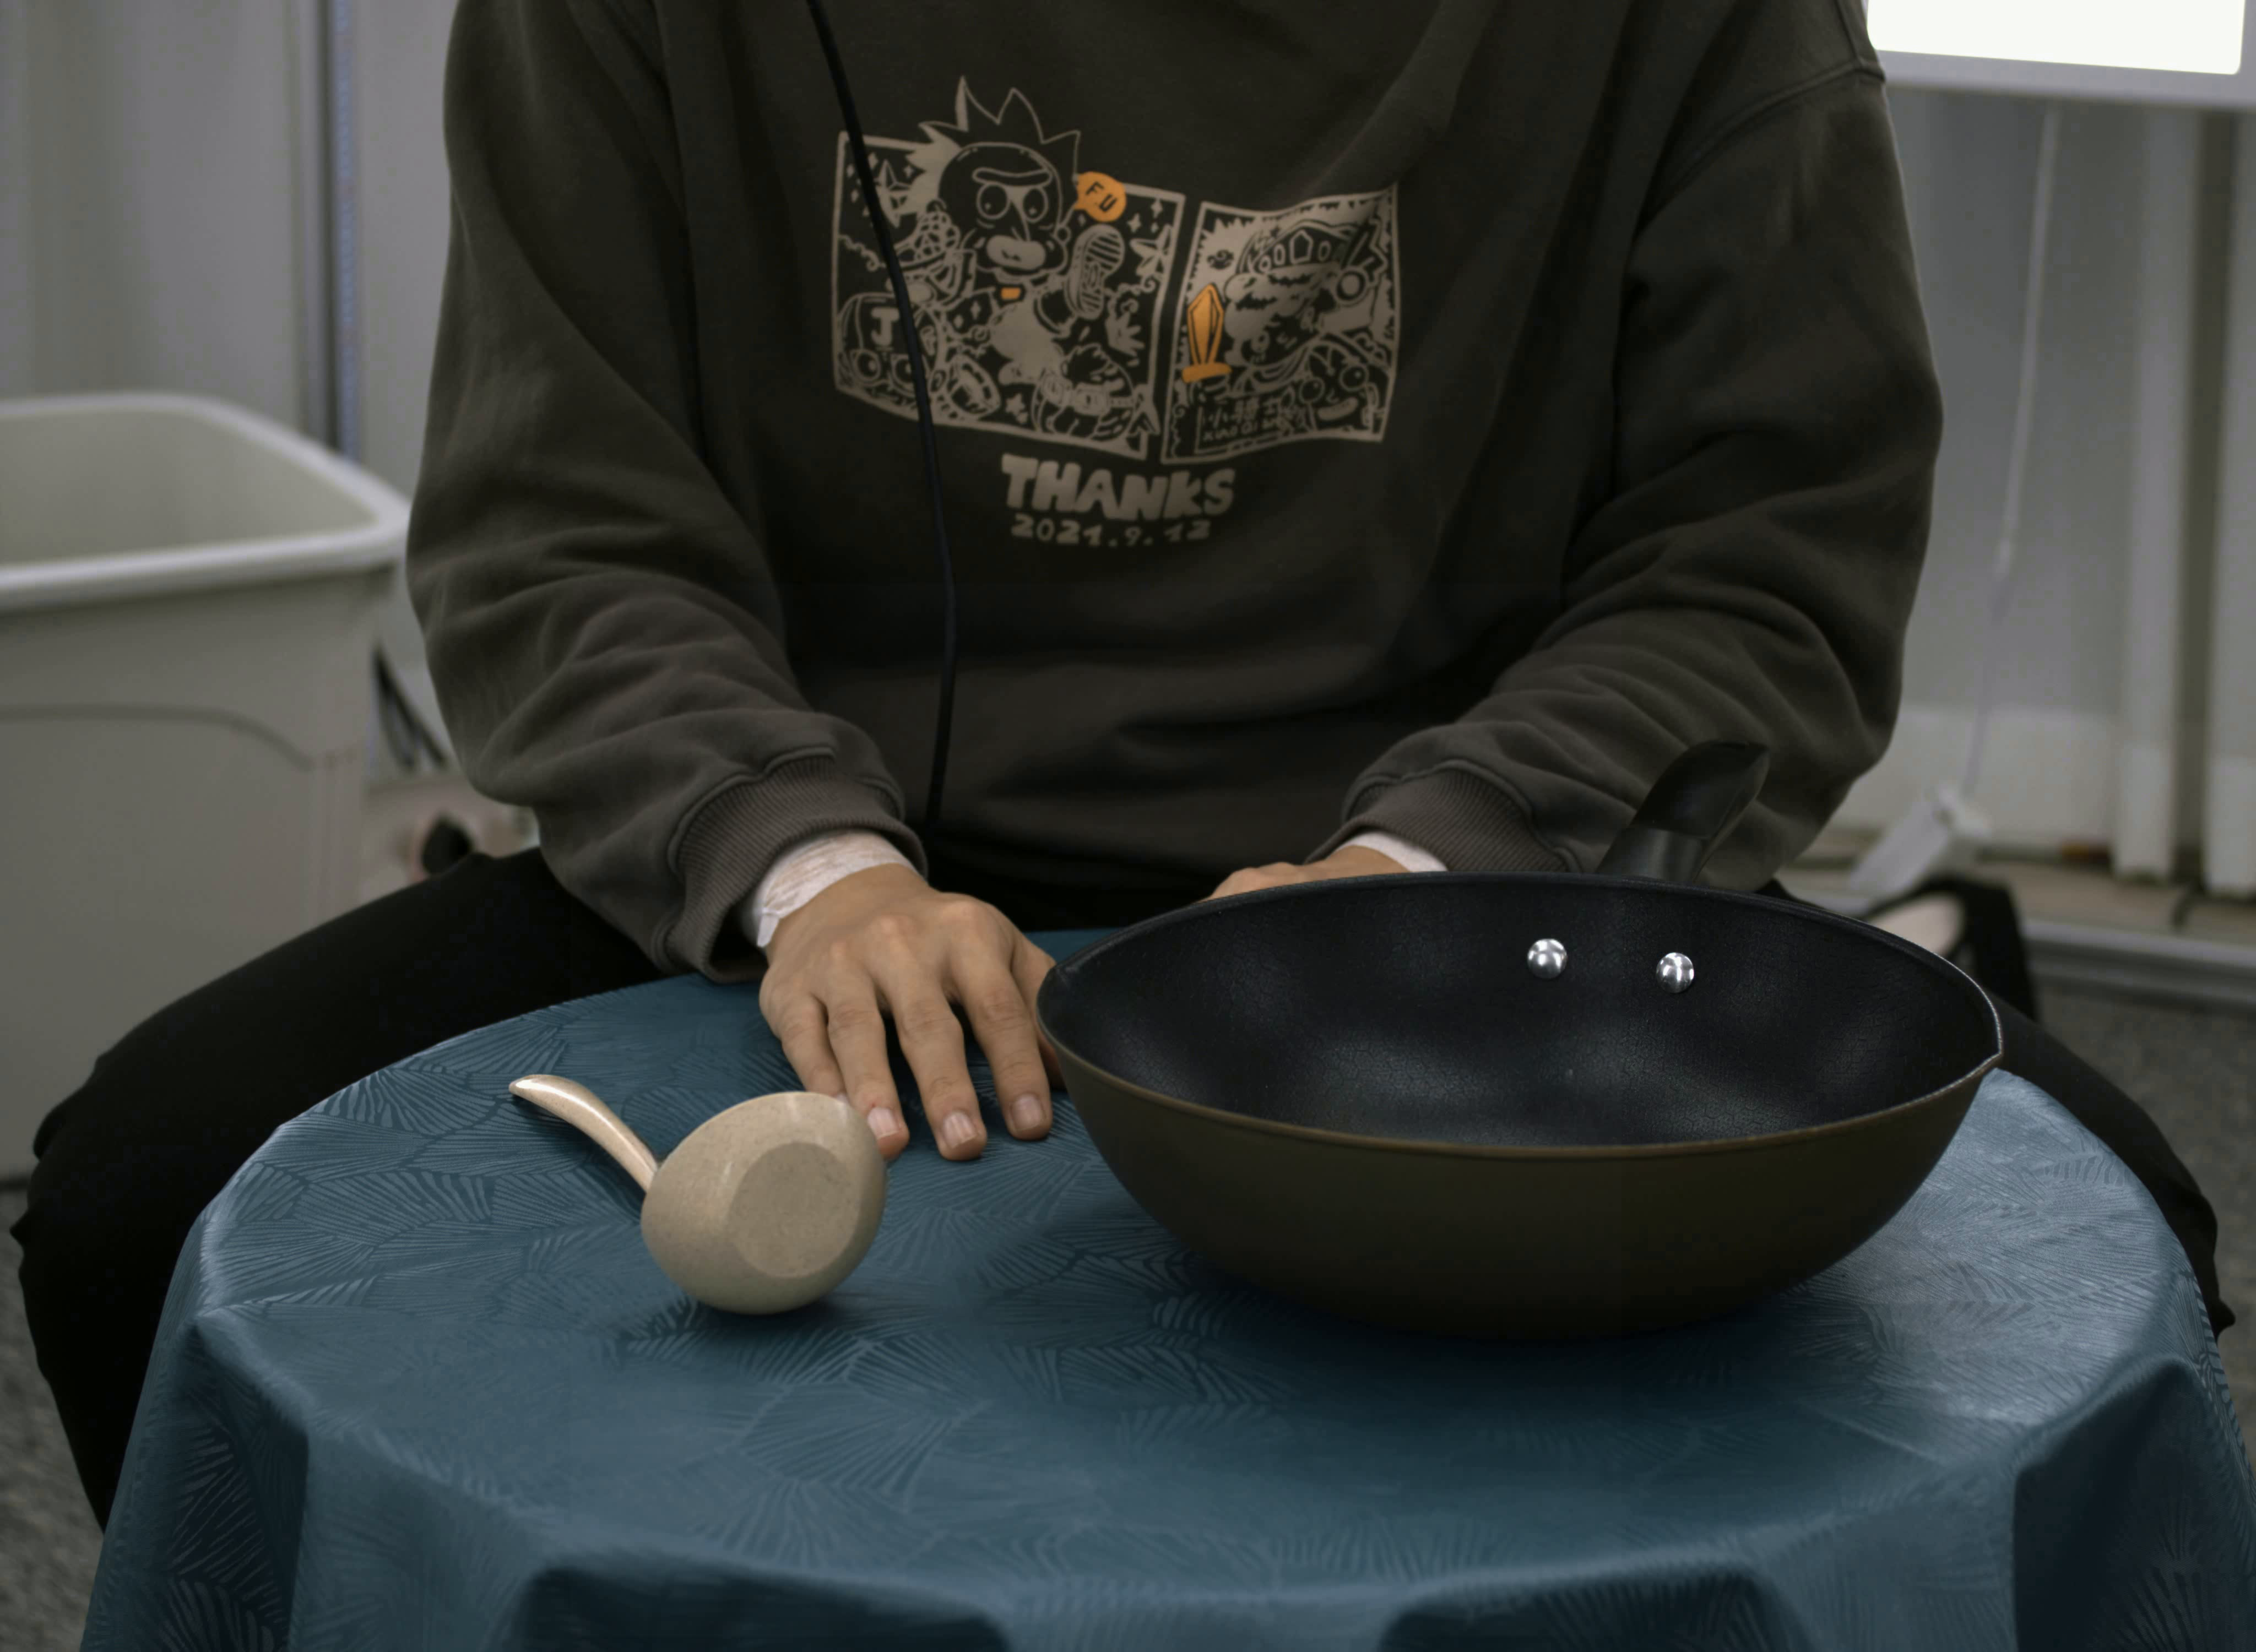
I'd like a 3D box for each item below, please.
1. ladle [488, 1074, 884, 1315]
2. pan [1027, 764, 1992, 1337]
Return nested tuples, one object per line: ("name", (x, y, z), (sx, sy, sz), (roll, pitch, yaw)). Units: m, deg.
("ladle", (-0.149, 0.082, 1.599), (0.072, 0.073, 0.251), (-13, 20, -24))
("pan", (0.139, 0.066, 1.647), (0.285, 0.087, 0.463), (5, 15, 17))
